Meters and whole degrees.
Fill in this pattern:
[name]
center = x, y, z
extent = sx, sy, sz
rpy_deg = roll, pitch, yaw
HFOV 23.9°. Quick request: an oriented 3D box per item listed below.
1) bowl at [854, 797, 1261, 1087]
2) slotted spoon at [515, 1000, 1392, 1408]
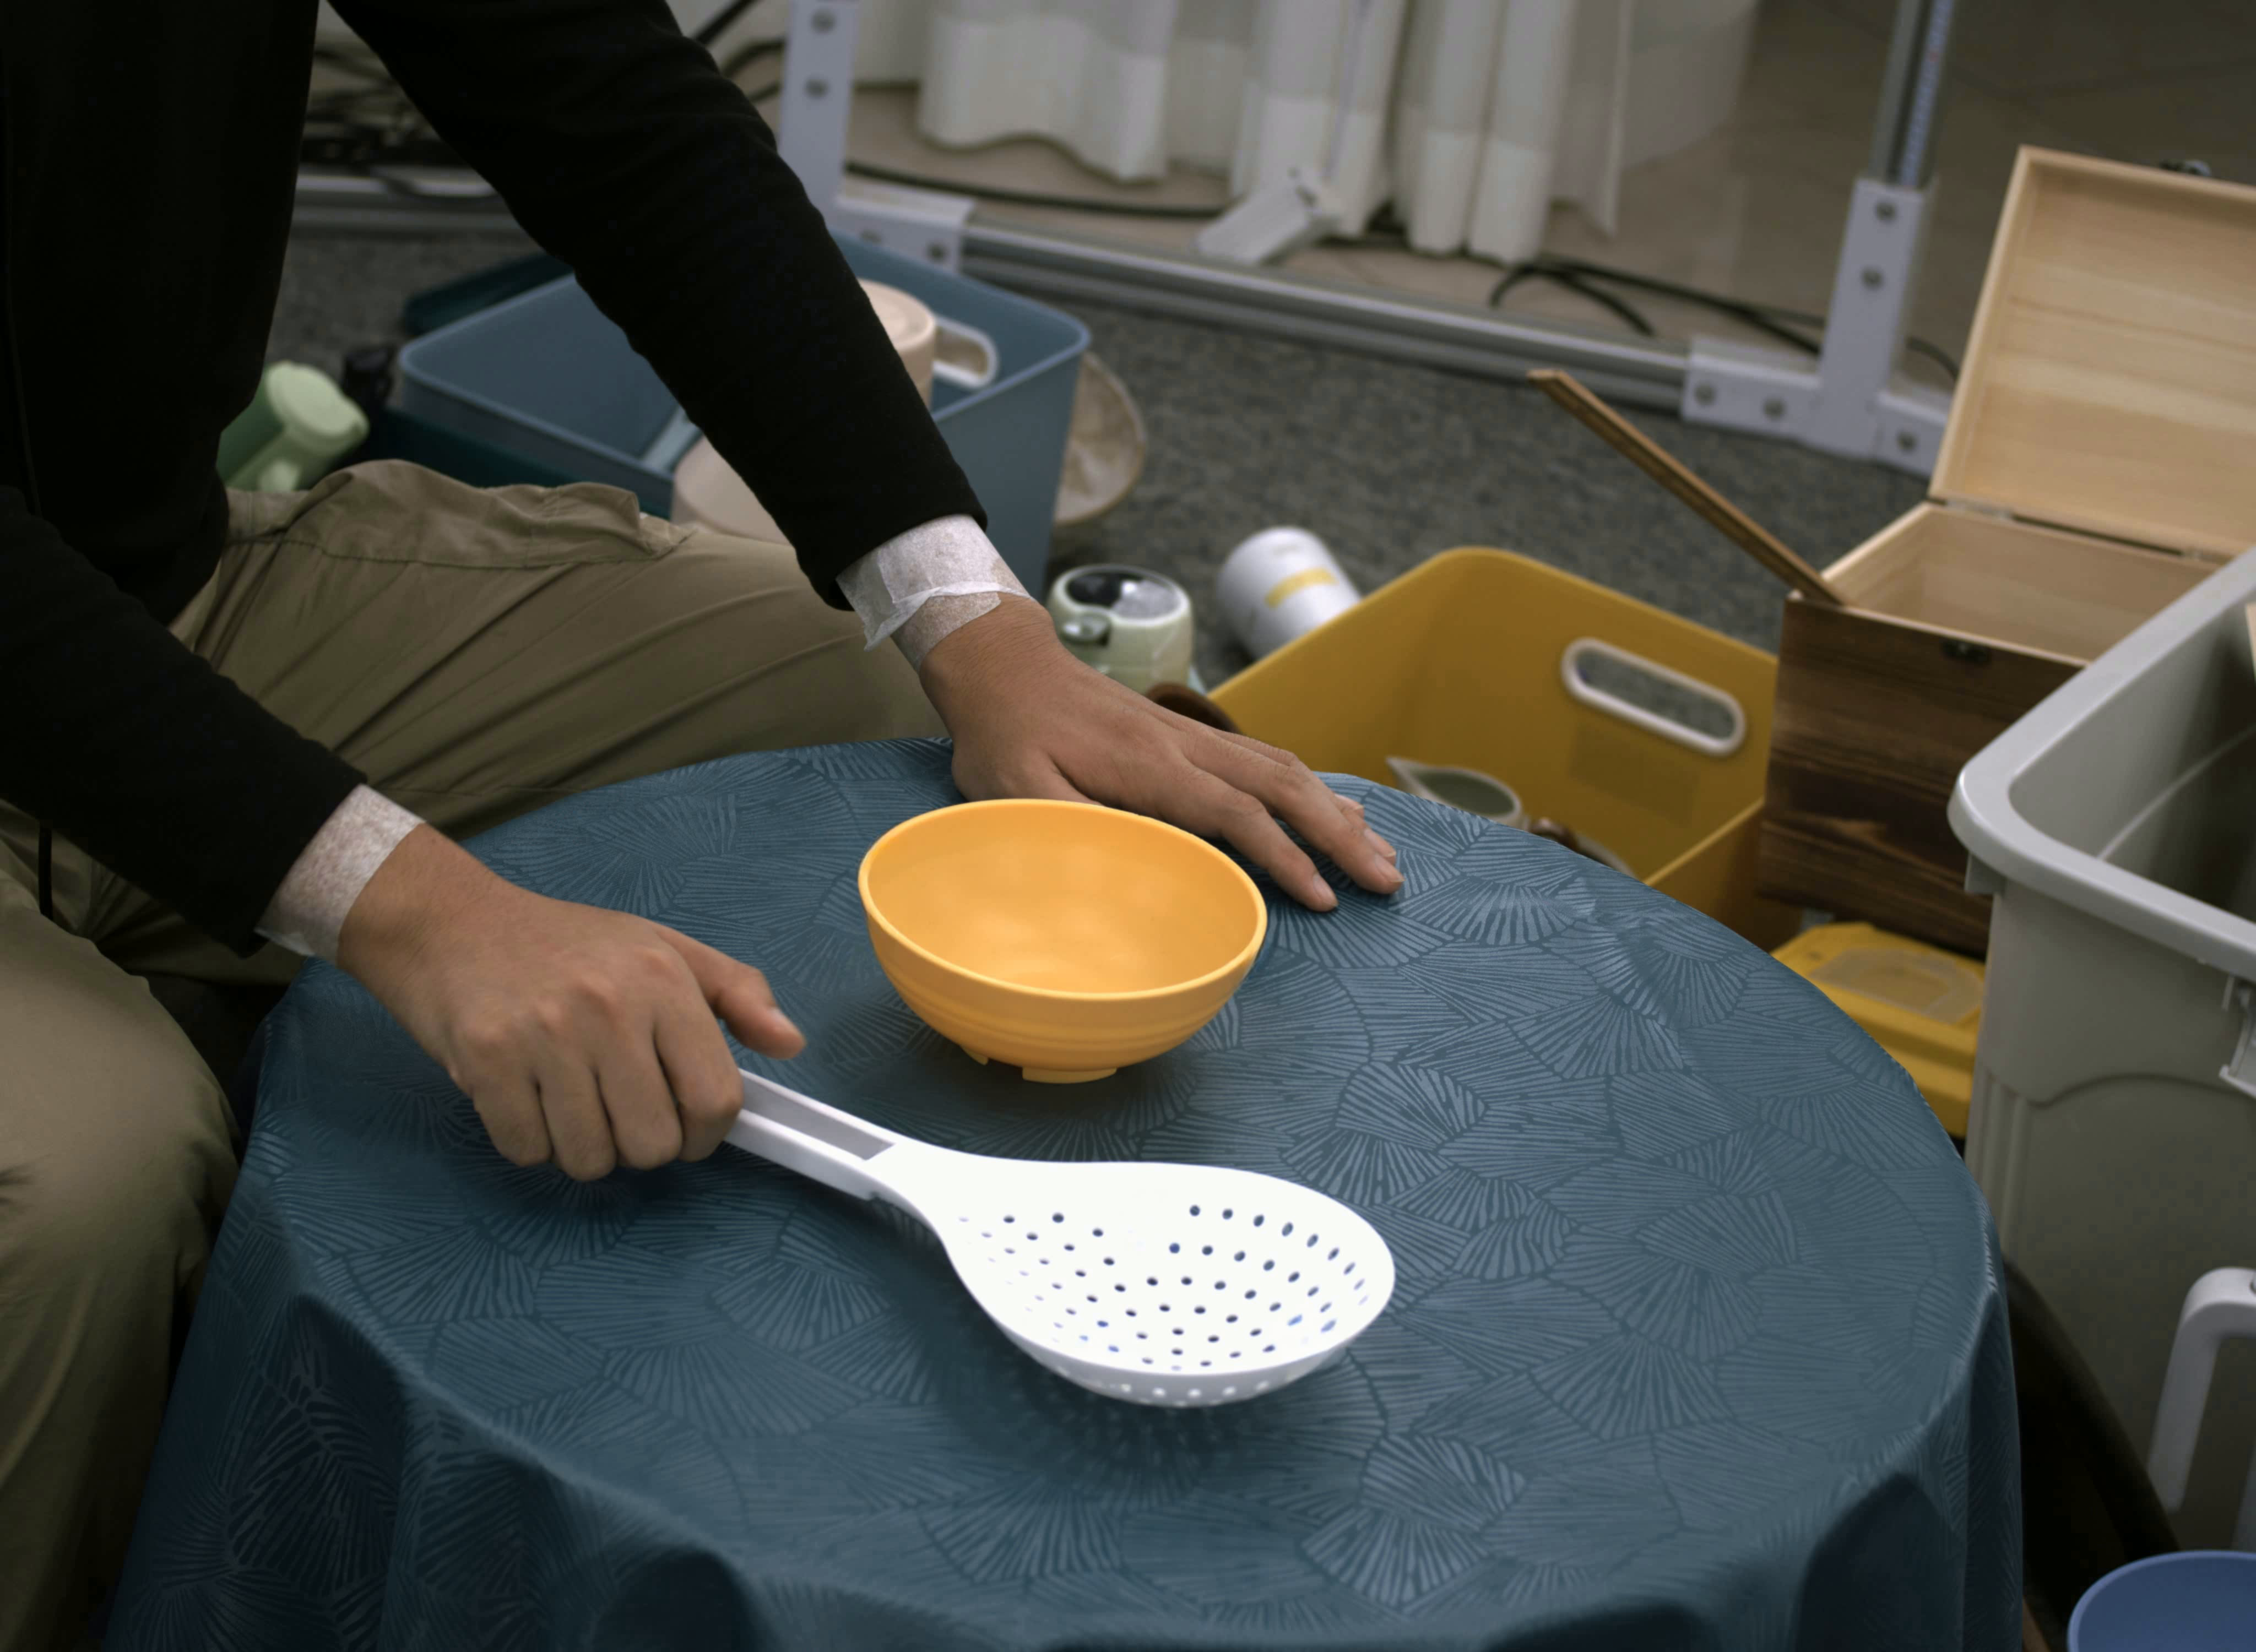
[bowl]
center = -0.028, 0.050, 1.879
extent = 0.145, 0.060, 0.146
rpy_deg = 7, 27, -4
[slotted spoon]
center = -0.069, 0.117, 1.749
extent = 0.352, 0.045, 0.135
rpy_deg = 24, 33, 32
